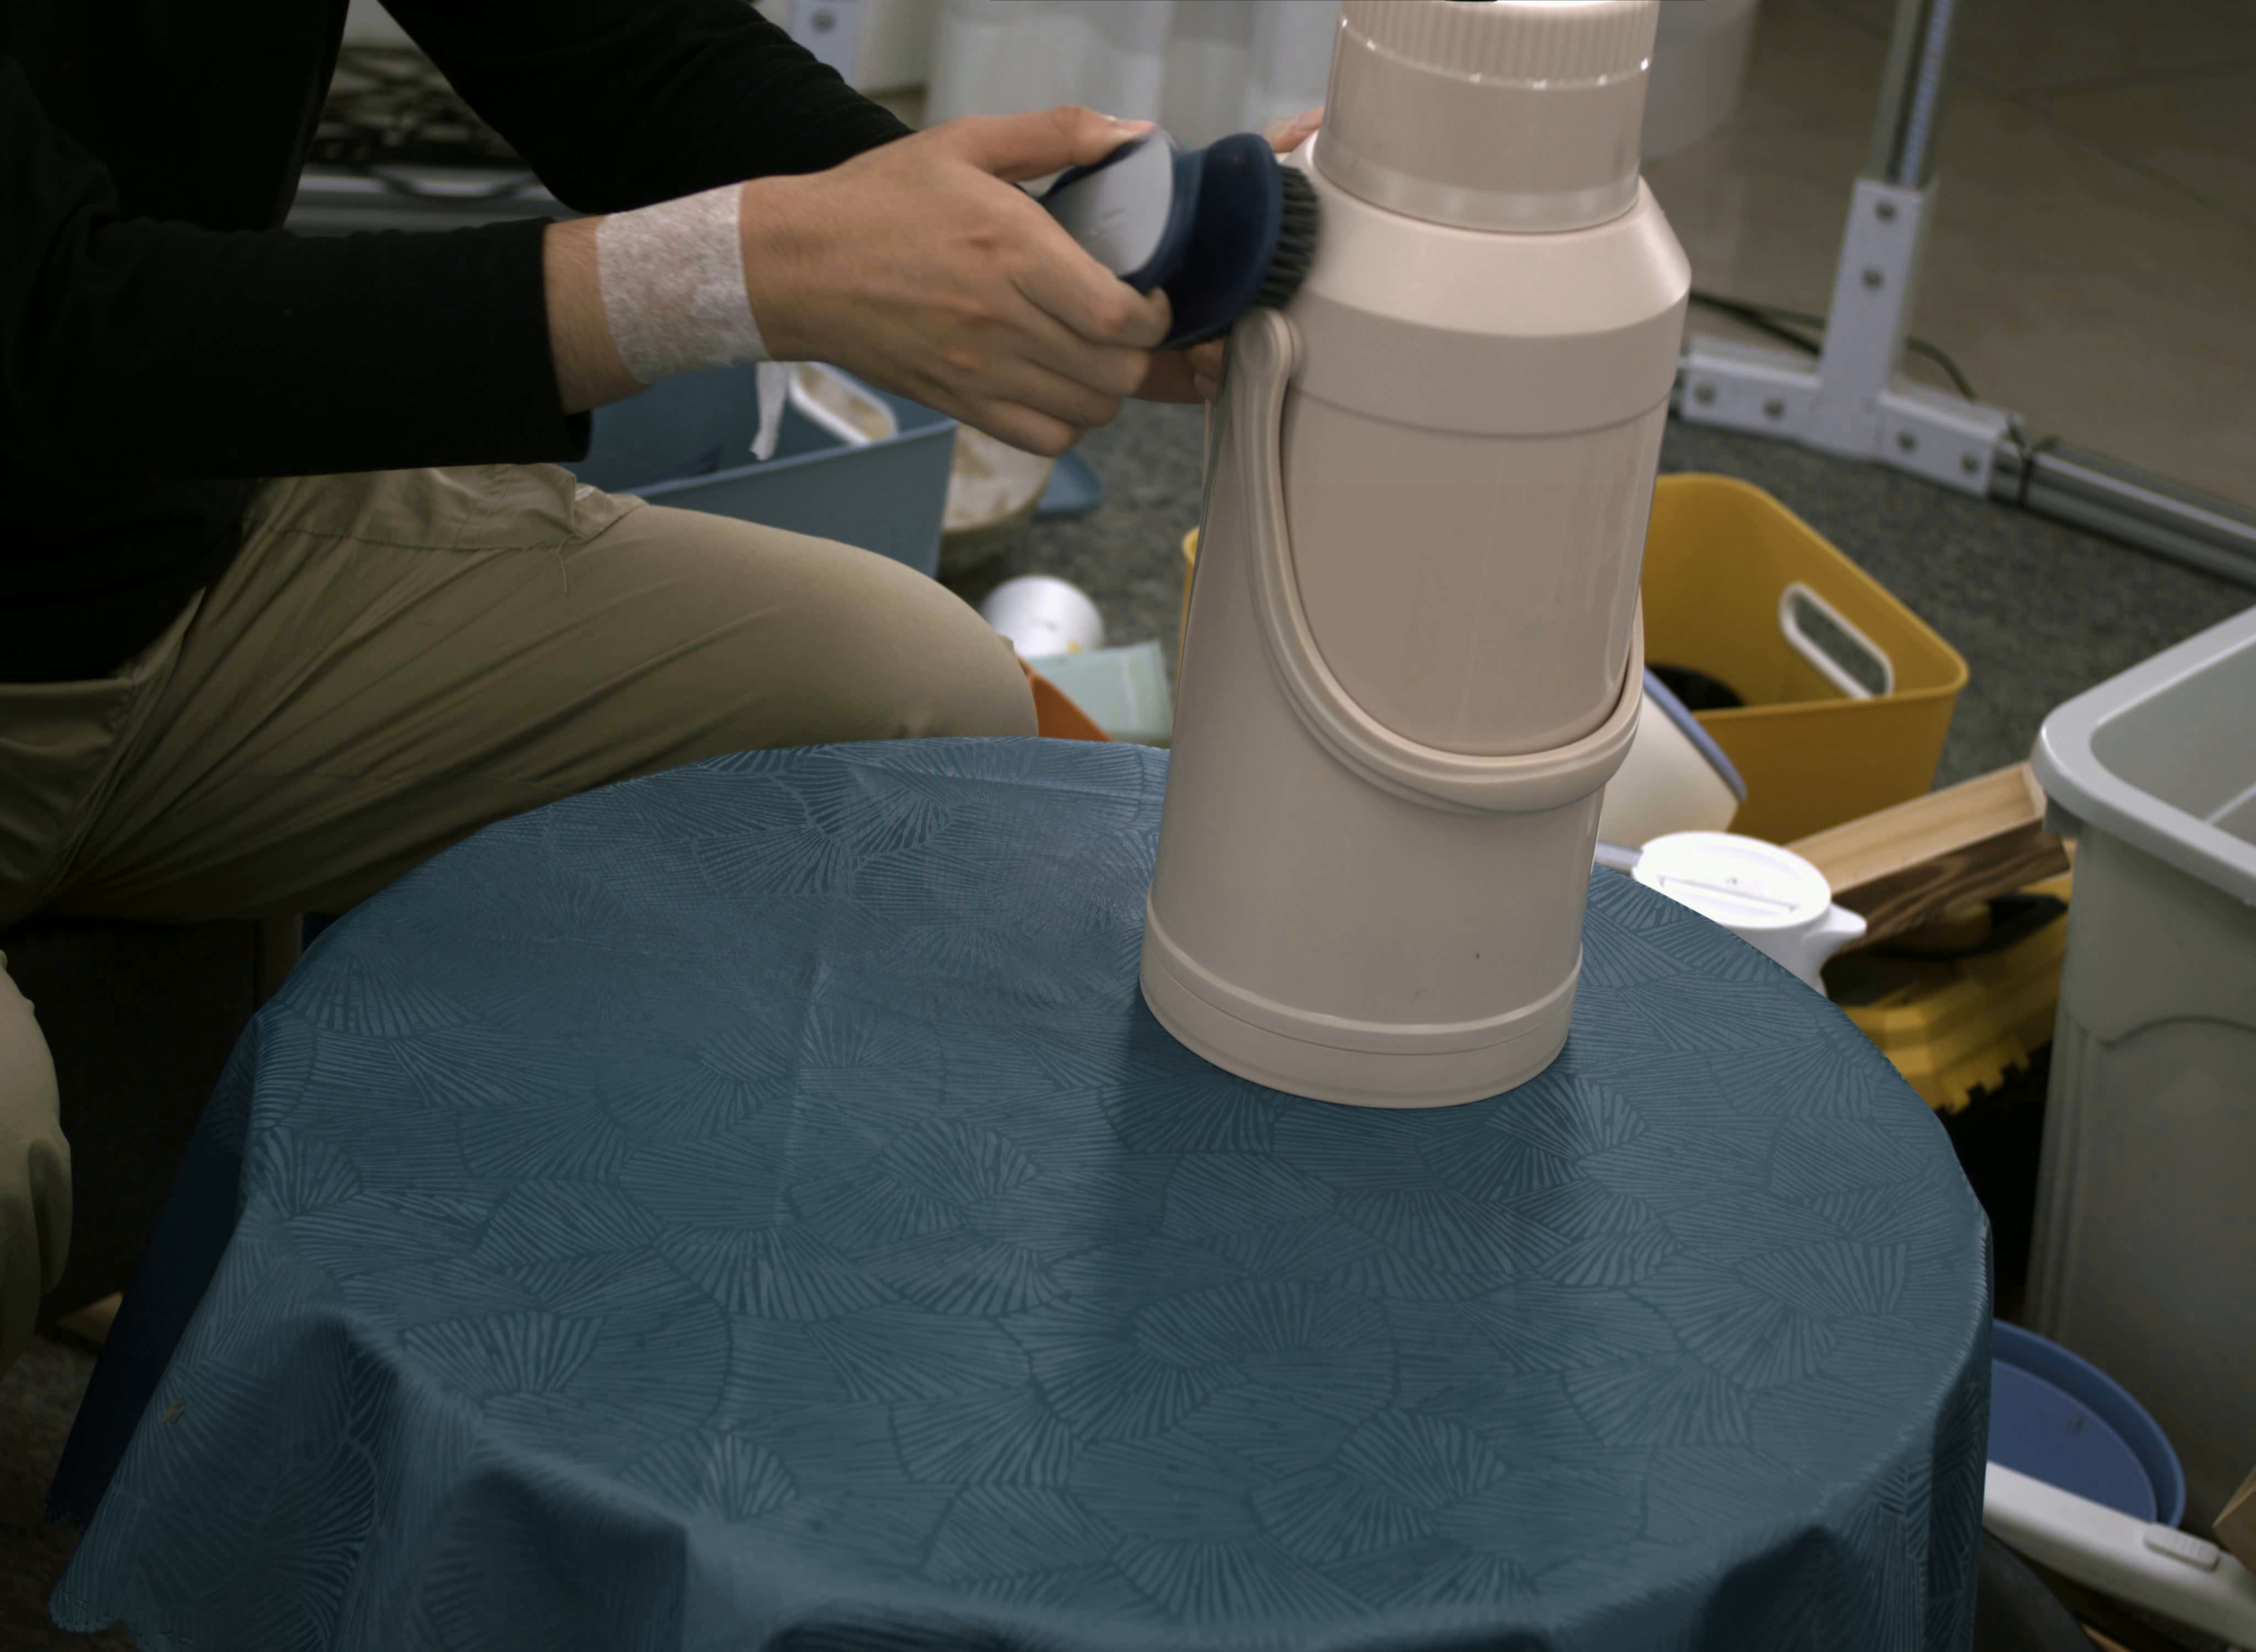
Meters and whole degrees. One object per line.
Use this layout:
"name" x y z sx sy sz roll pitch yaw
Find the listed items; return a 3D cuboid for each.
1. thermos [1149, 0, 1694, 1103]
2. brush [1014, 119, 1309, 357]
"thermos" 0.098 -0.119 1.864 0.174 0.405 0.209 -15 34 -34
"brush" 0.013 -0.196 1.792 0.060 0.068 0.122 13 -12 -27
